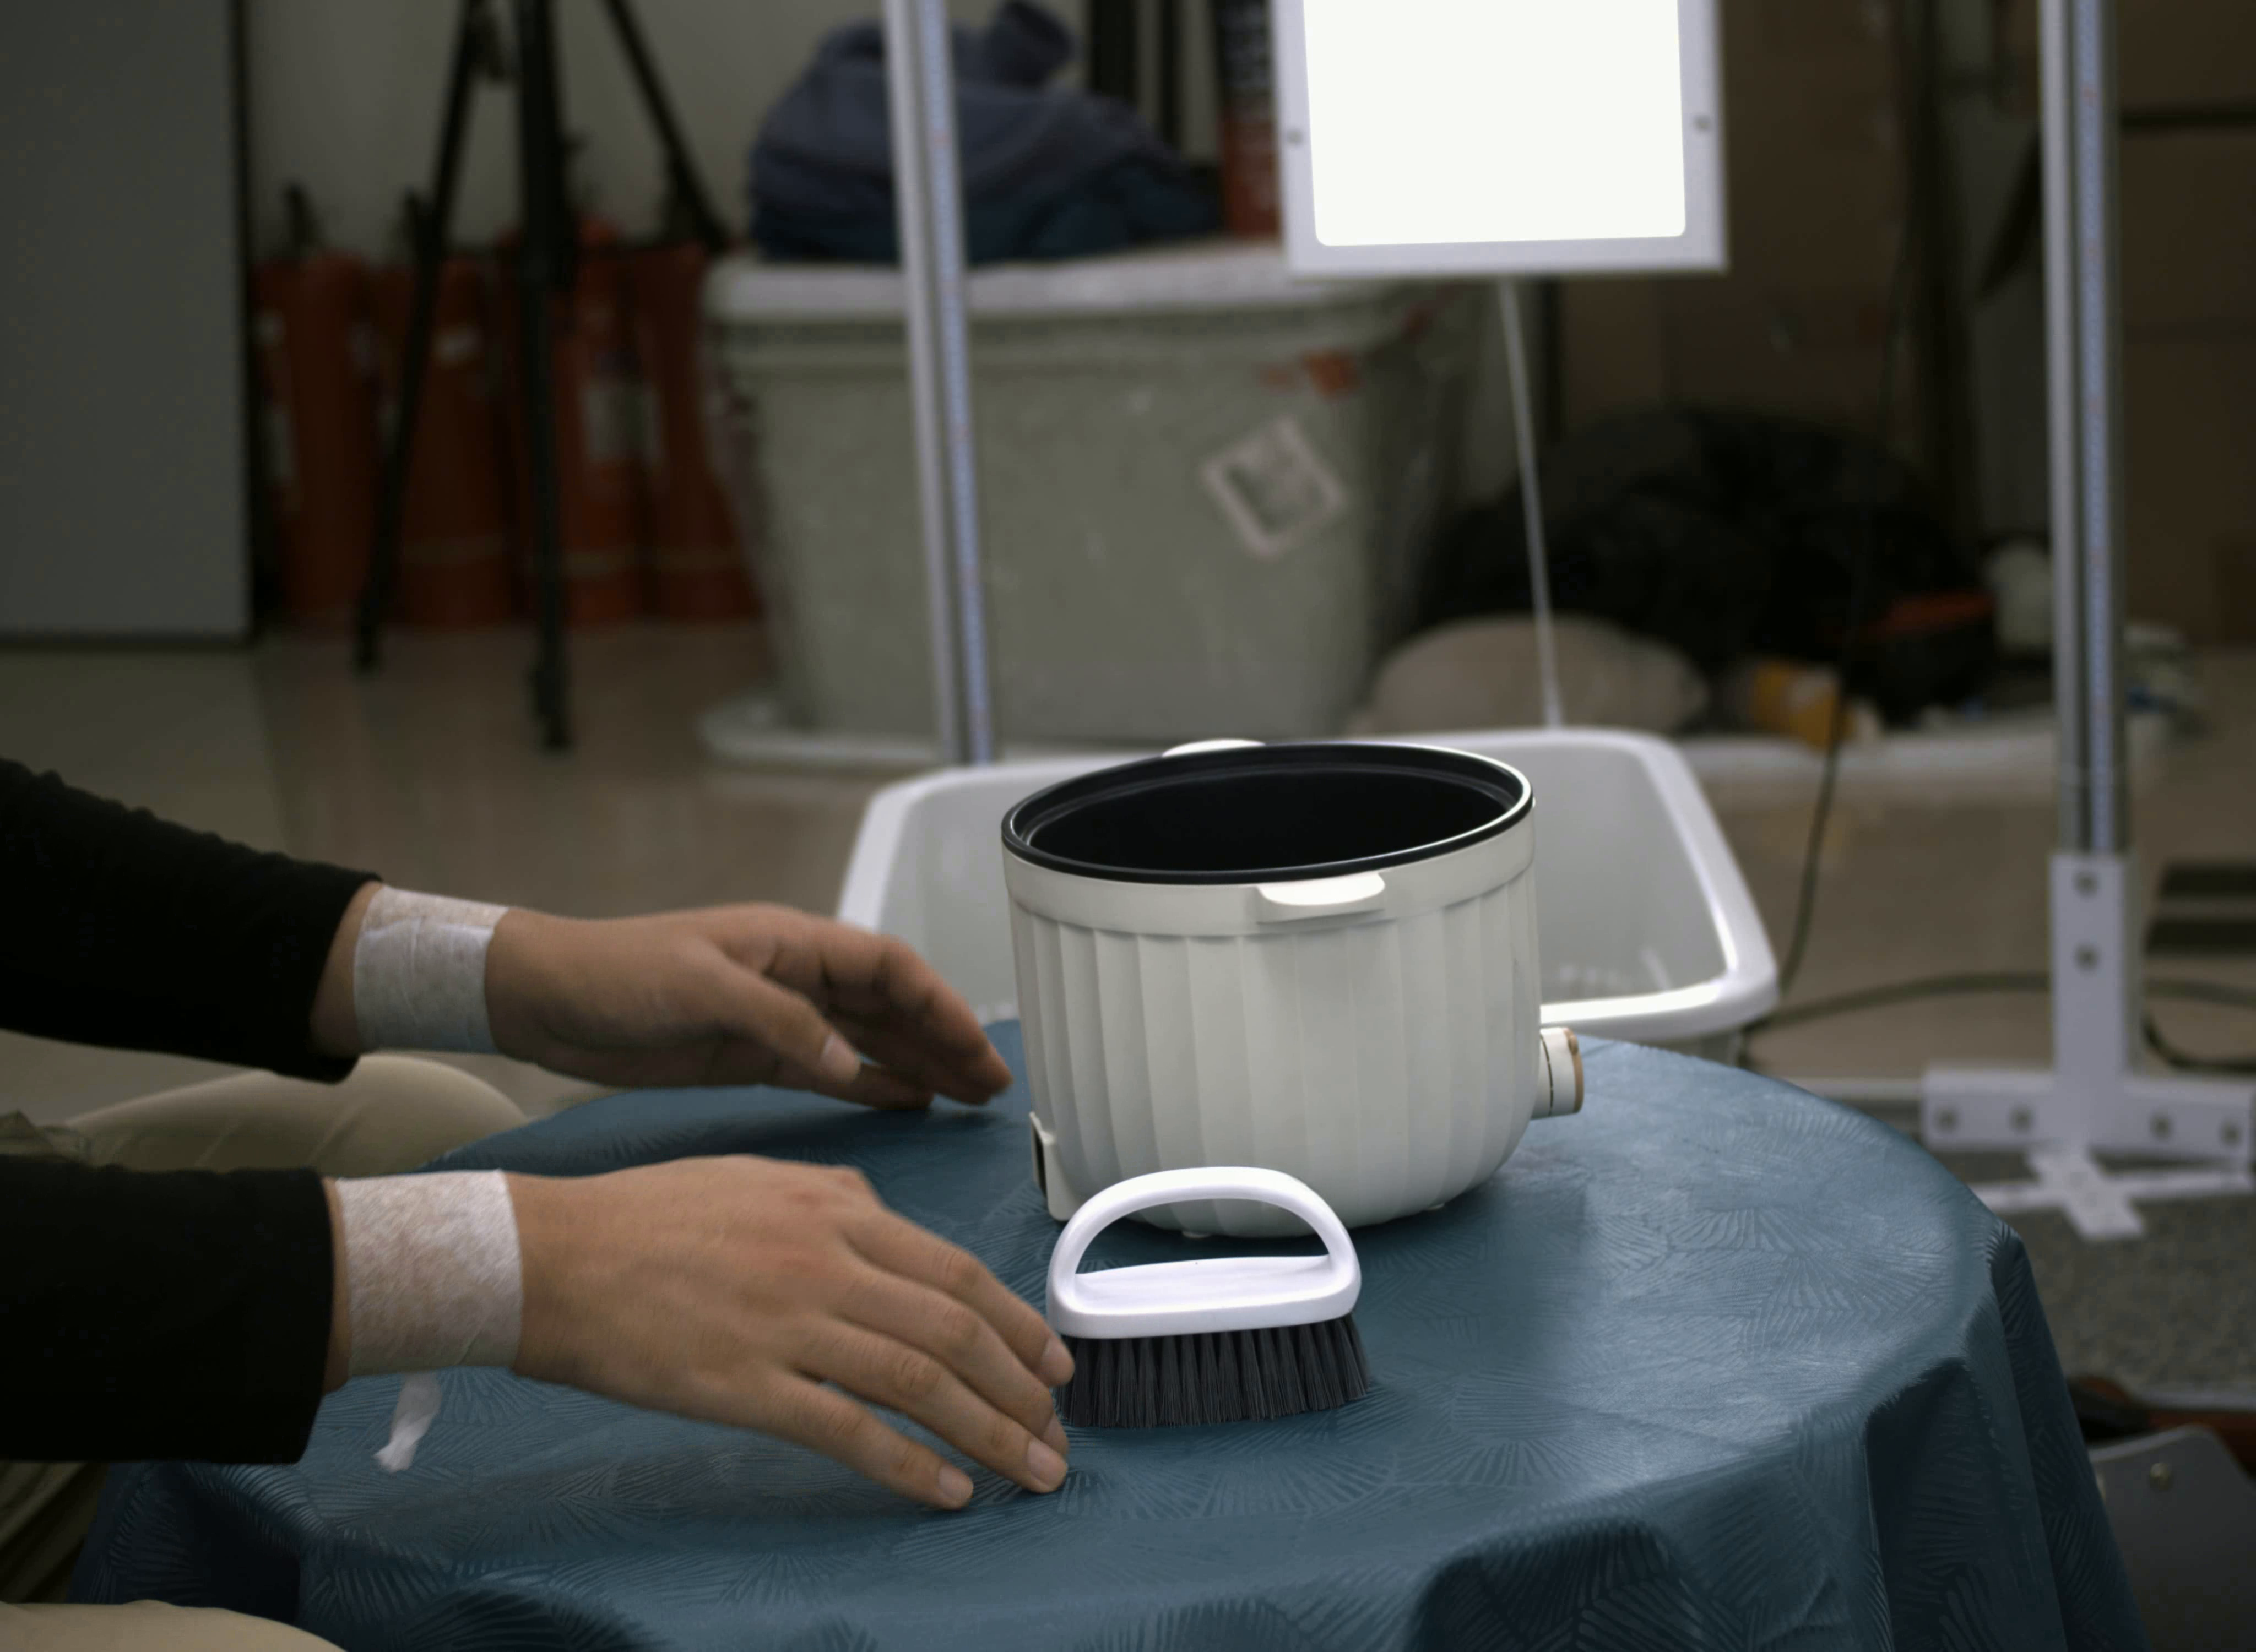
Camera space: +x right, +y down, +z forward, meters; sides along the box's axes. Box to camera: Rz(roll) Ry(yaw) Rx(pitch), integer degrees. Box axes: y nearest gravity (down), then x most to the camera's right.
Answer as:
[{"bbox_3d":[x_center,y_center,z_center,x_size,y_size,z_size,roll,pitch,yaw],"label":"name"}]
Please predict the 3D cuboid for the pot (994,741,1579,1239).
[{"bbox_3d":[0.055,0.056,1.874,0.189,0.143,0.241,-9,15,-7],"label":"pot"}]

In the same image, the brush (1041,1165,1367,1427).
[{"bbox_3d":[0.022,0.140,1.682,0.099,0.073,0.050,-4,14,3],"label":"brush"}]
